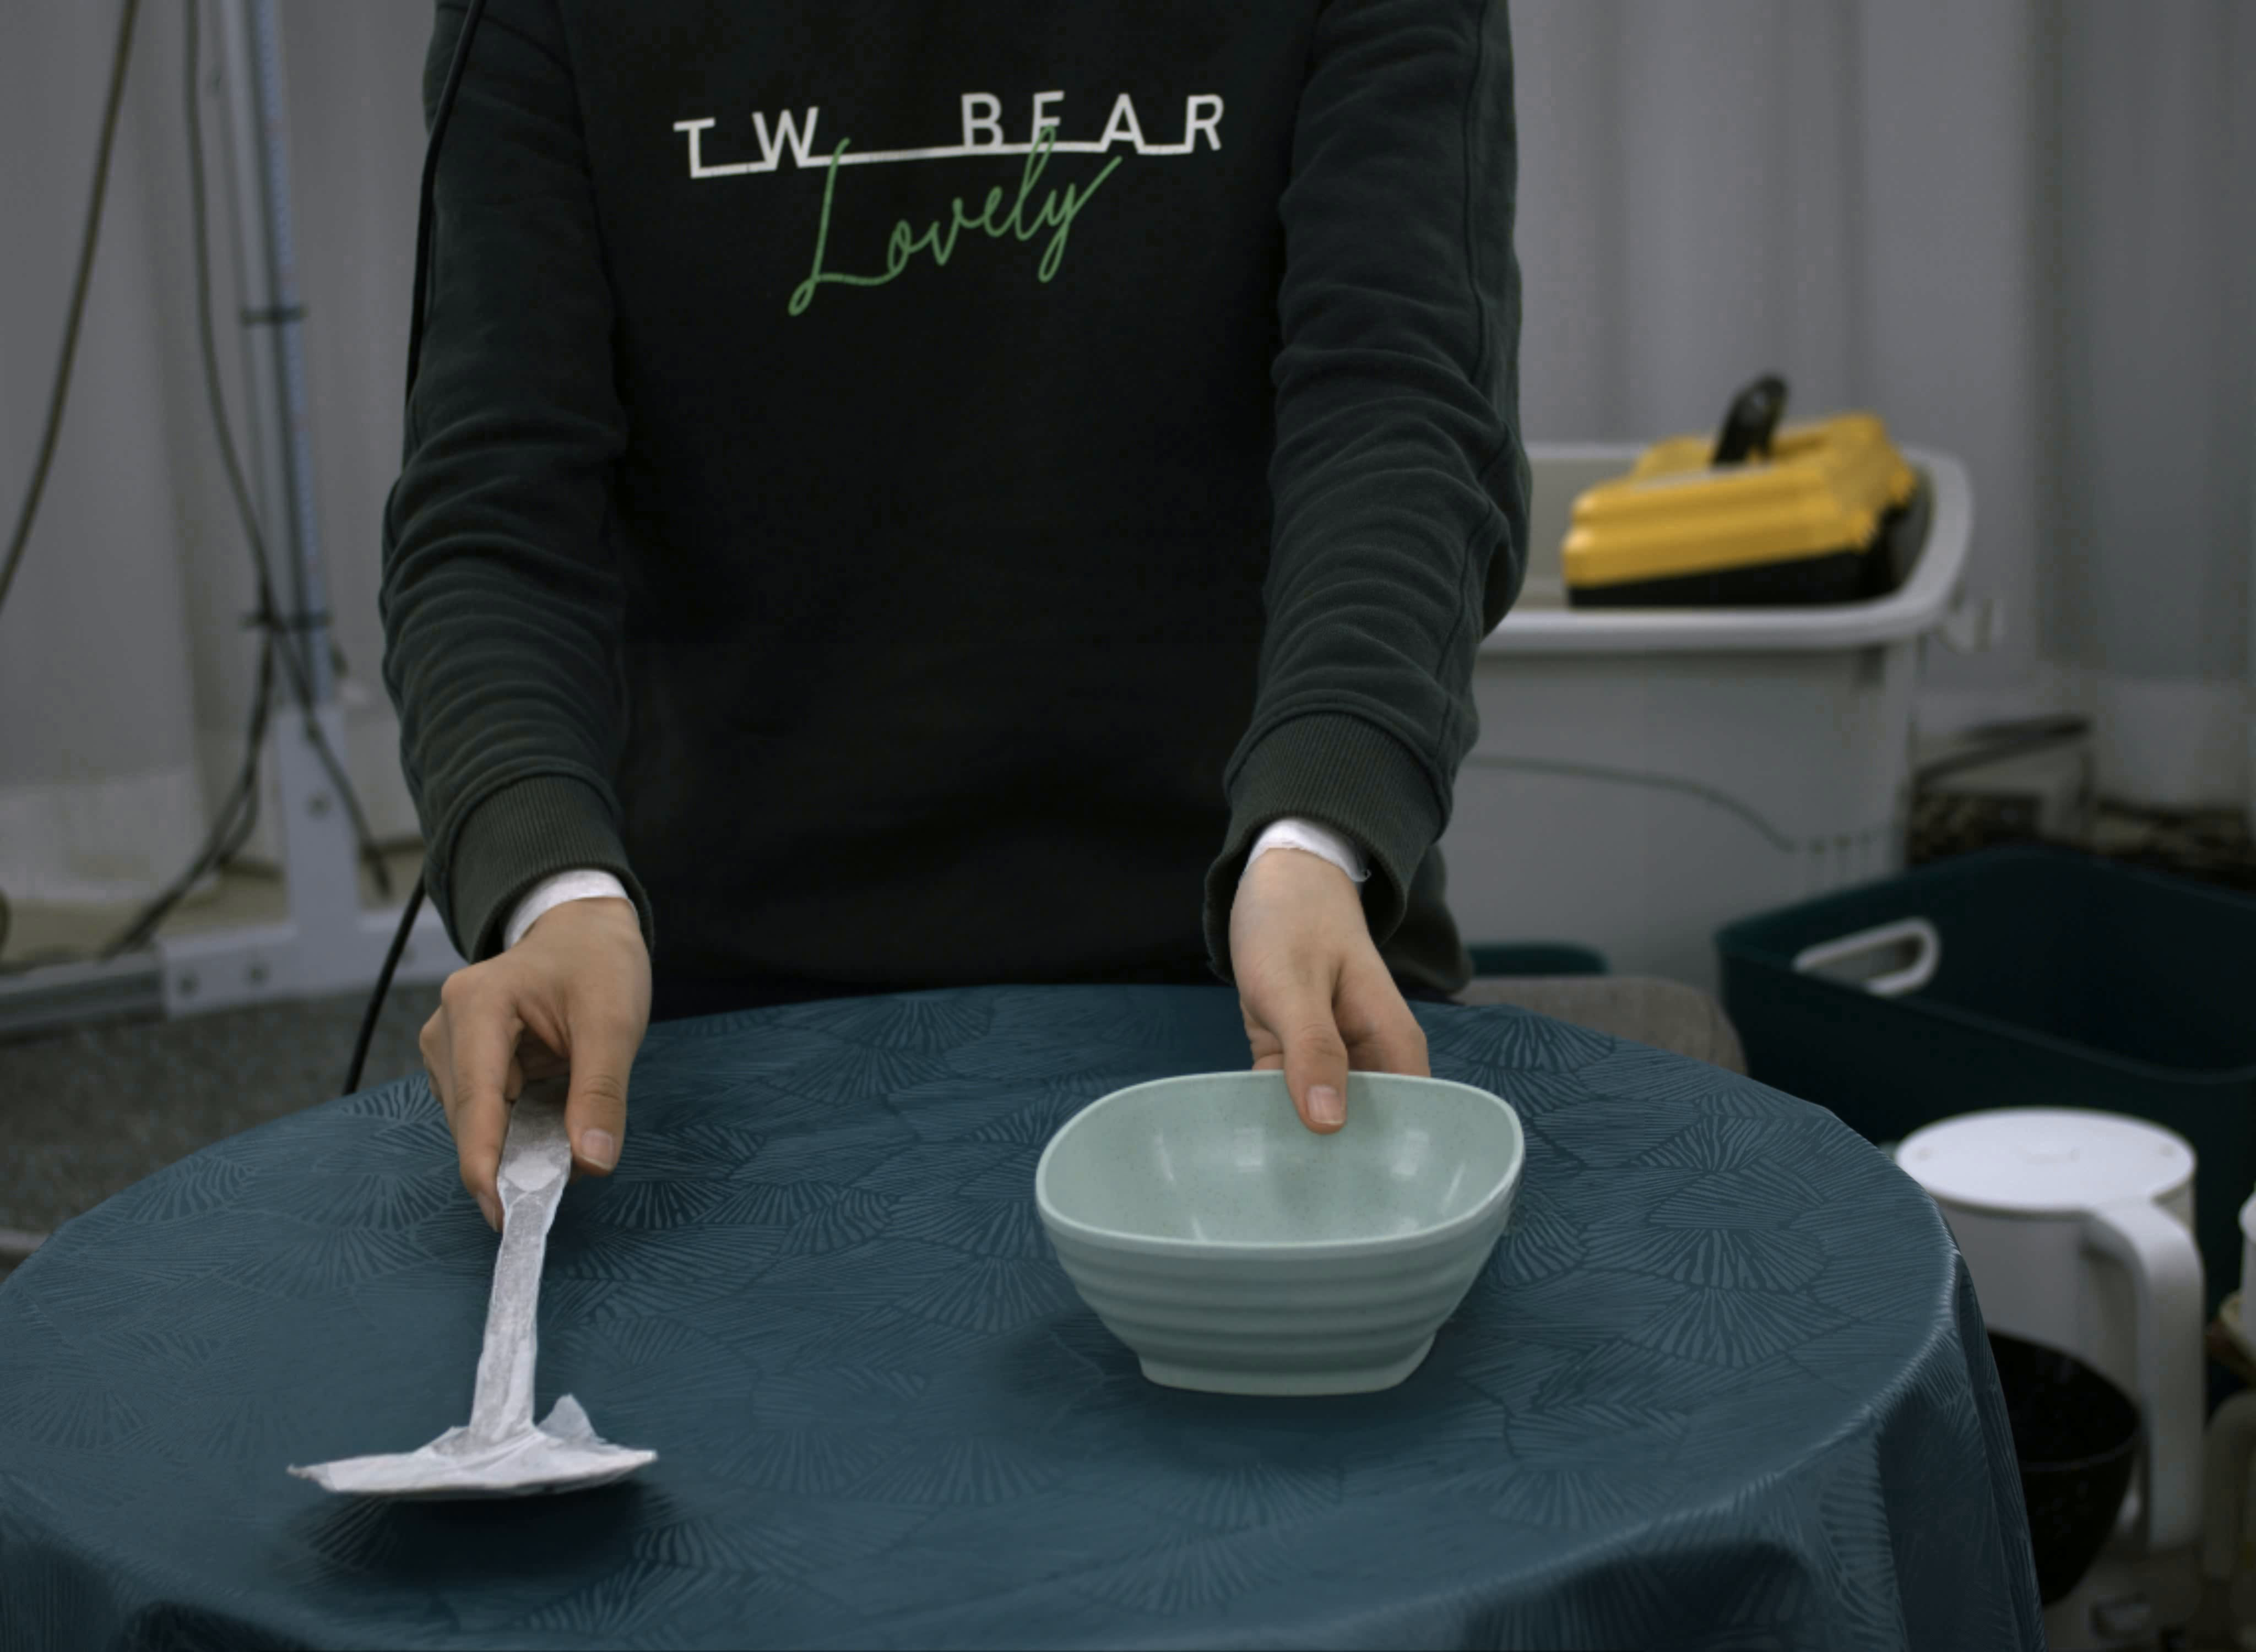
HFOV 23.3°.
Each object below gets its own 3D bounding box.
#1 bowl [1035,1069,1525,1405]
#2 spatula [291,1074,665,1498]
[{"bbox_3d":[0.044,0.122,1.567,0.151,0.058,0.153,0,18,0],"label":"bowl"},{"bbox_3d":[-0.174,0.126,1.594,0.098,0.044,0.368,-4,20,0],"label":"spatula"}]
